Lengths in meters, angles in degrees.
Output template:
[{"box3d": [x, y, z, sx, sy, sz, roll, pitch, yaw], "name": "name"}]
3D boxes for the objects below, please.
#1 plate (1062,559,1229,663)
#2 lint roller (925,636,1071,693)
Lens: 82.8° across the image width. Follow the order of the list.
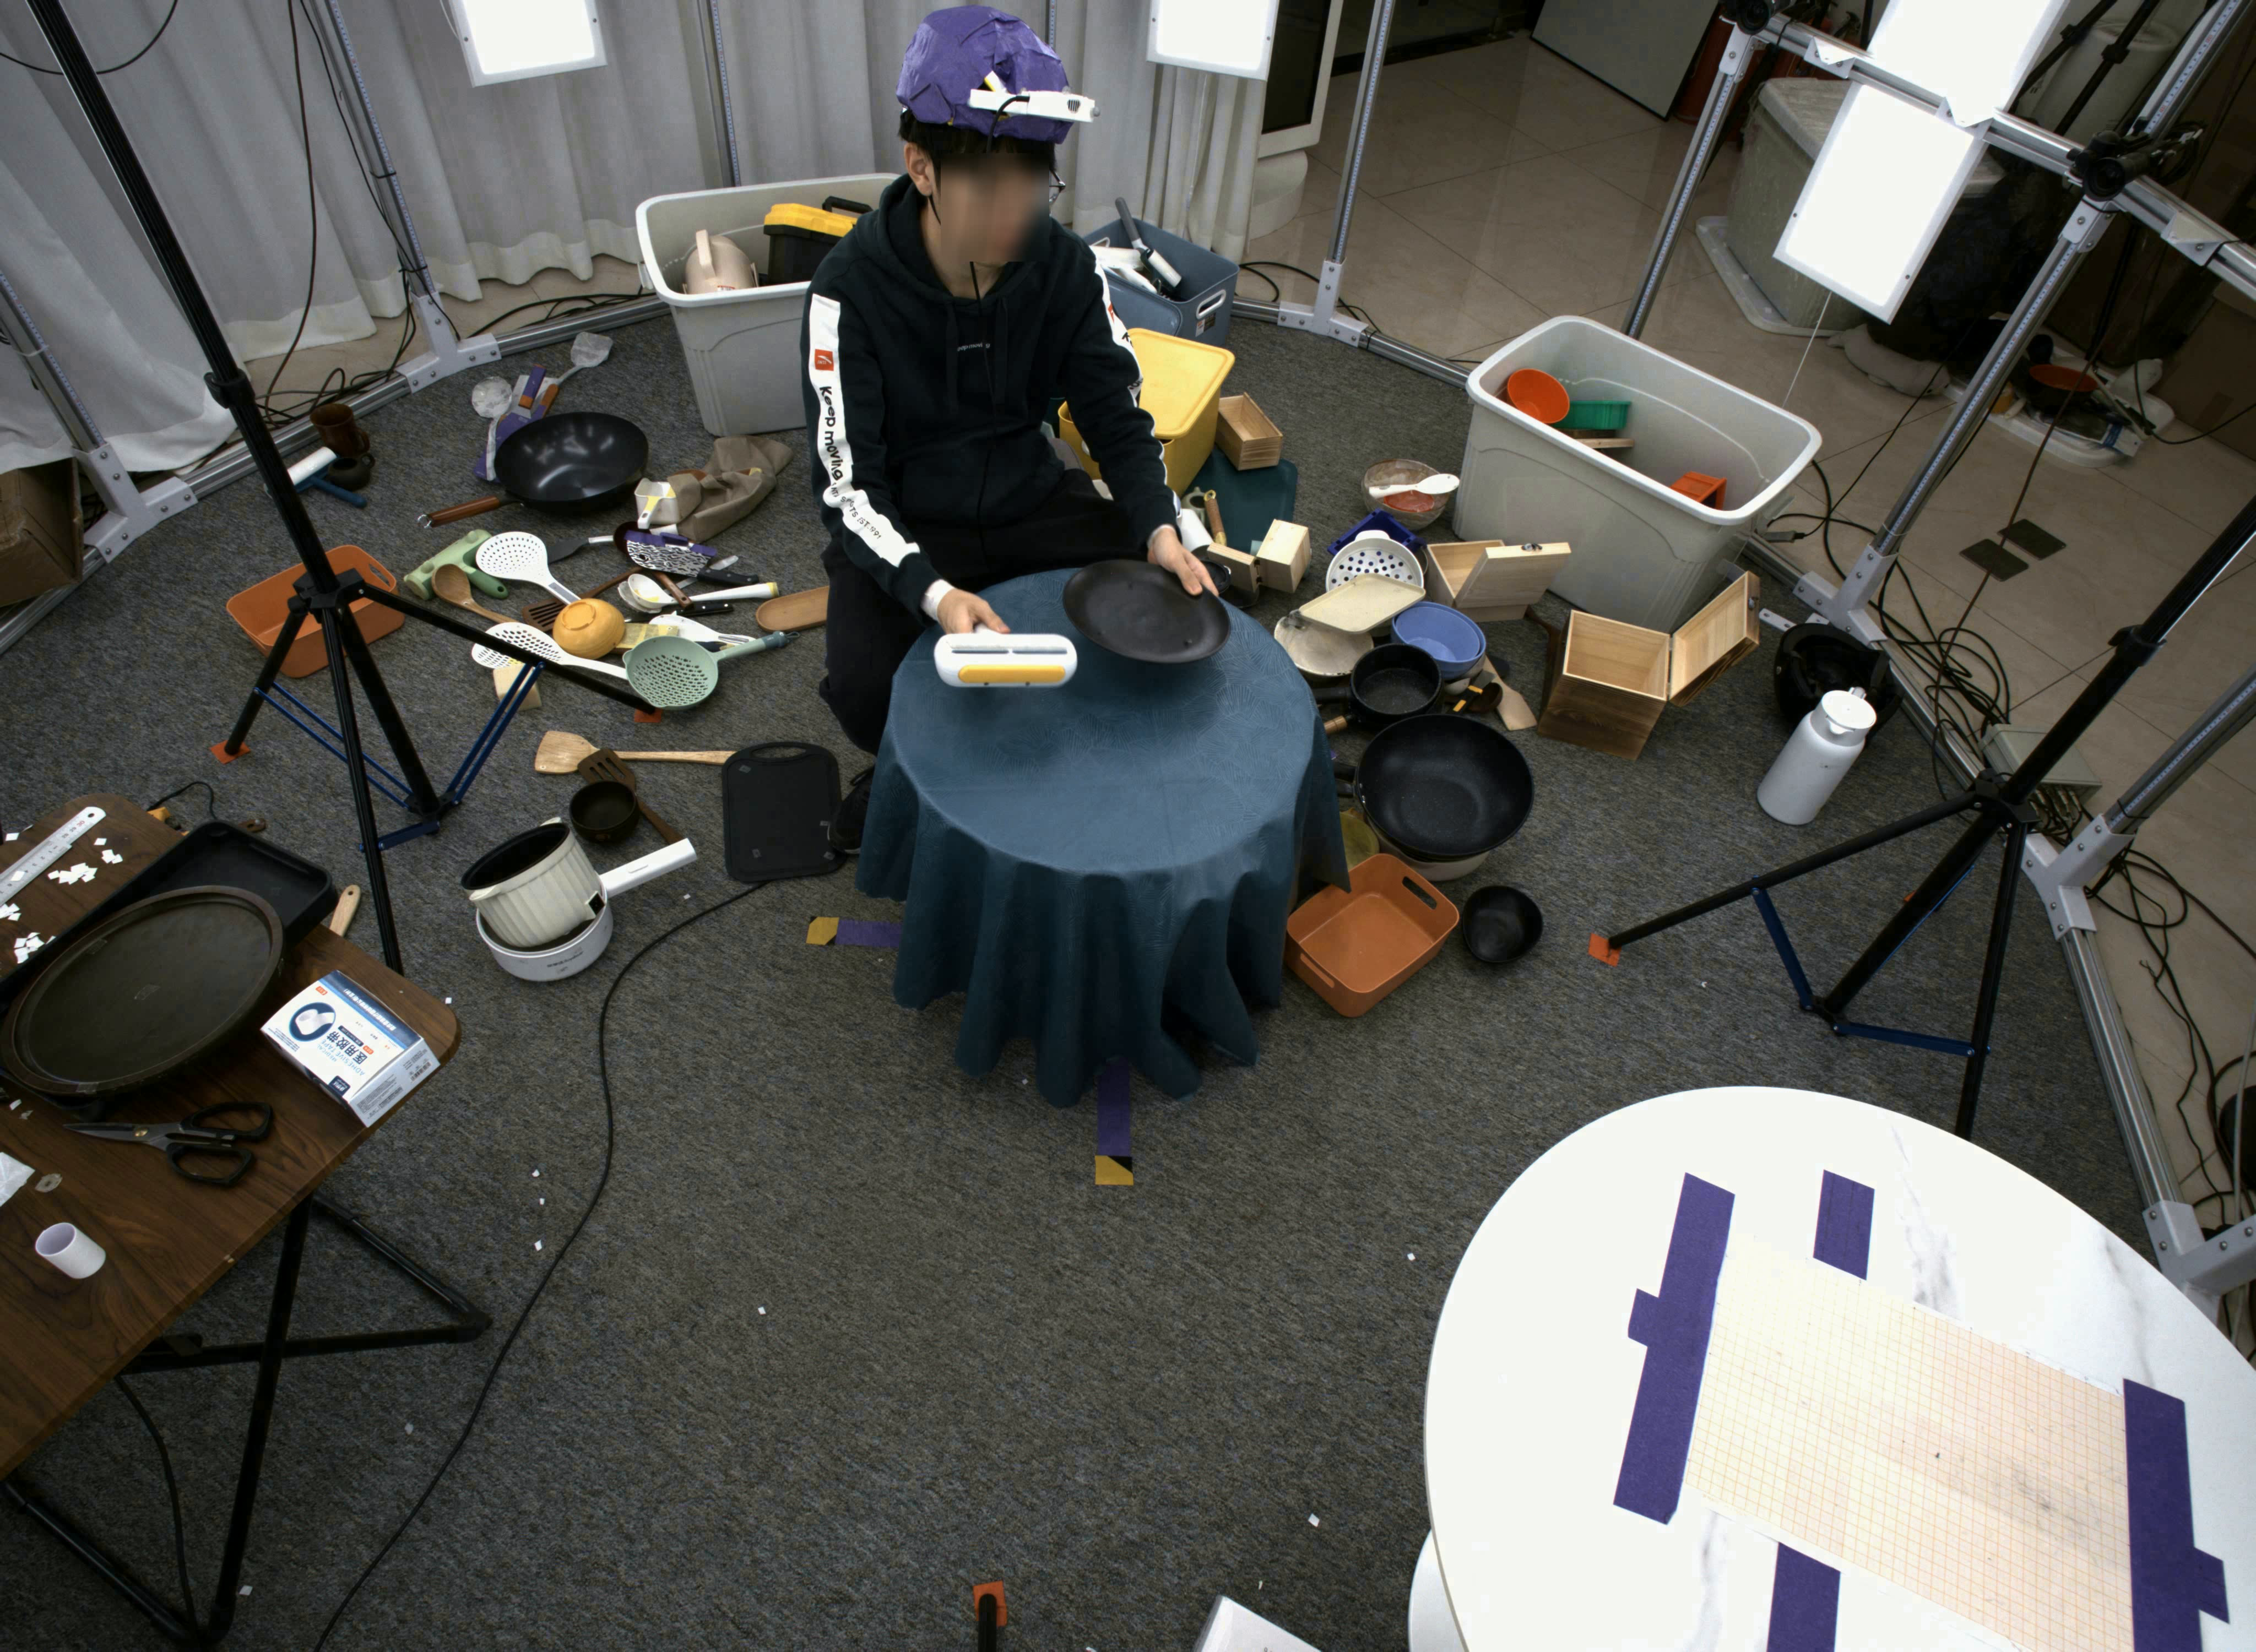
[{"box3d": [0.024, -0.302, 1.830, 0.244, 0.023, 0.250, 8, 43, -7], "name": "plate"}, {"box3d": [-0.186, -0.235, 1.760, 0.192, 0.073, 0.196, -3, 25, -14], "name": "lint roller"}]
